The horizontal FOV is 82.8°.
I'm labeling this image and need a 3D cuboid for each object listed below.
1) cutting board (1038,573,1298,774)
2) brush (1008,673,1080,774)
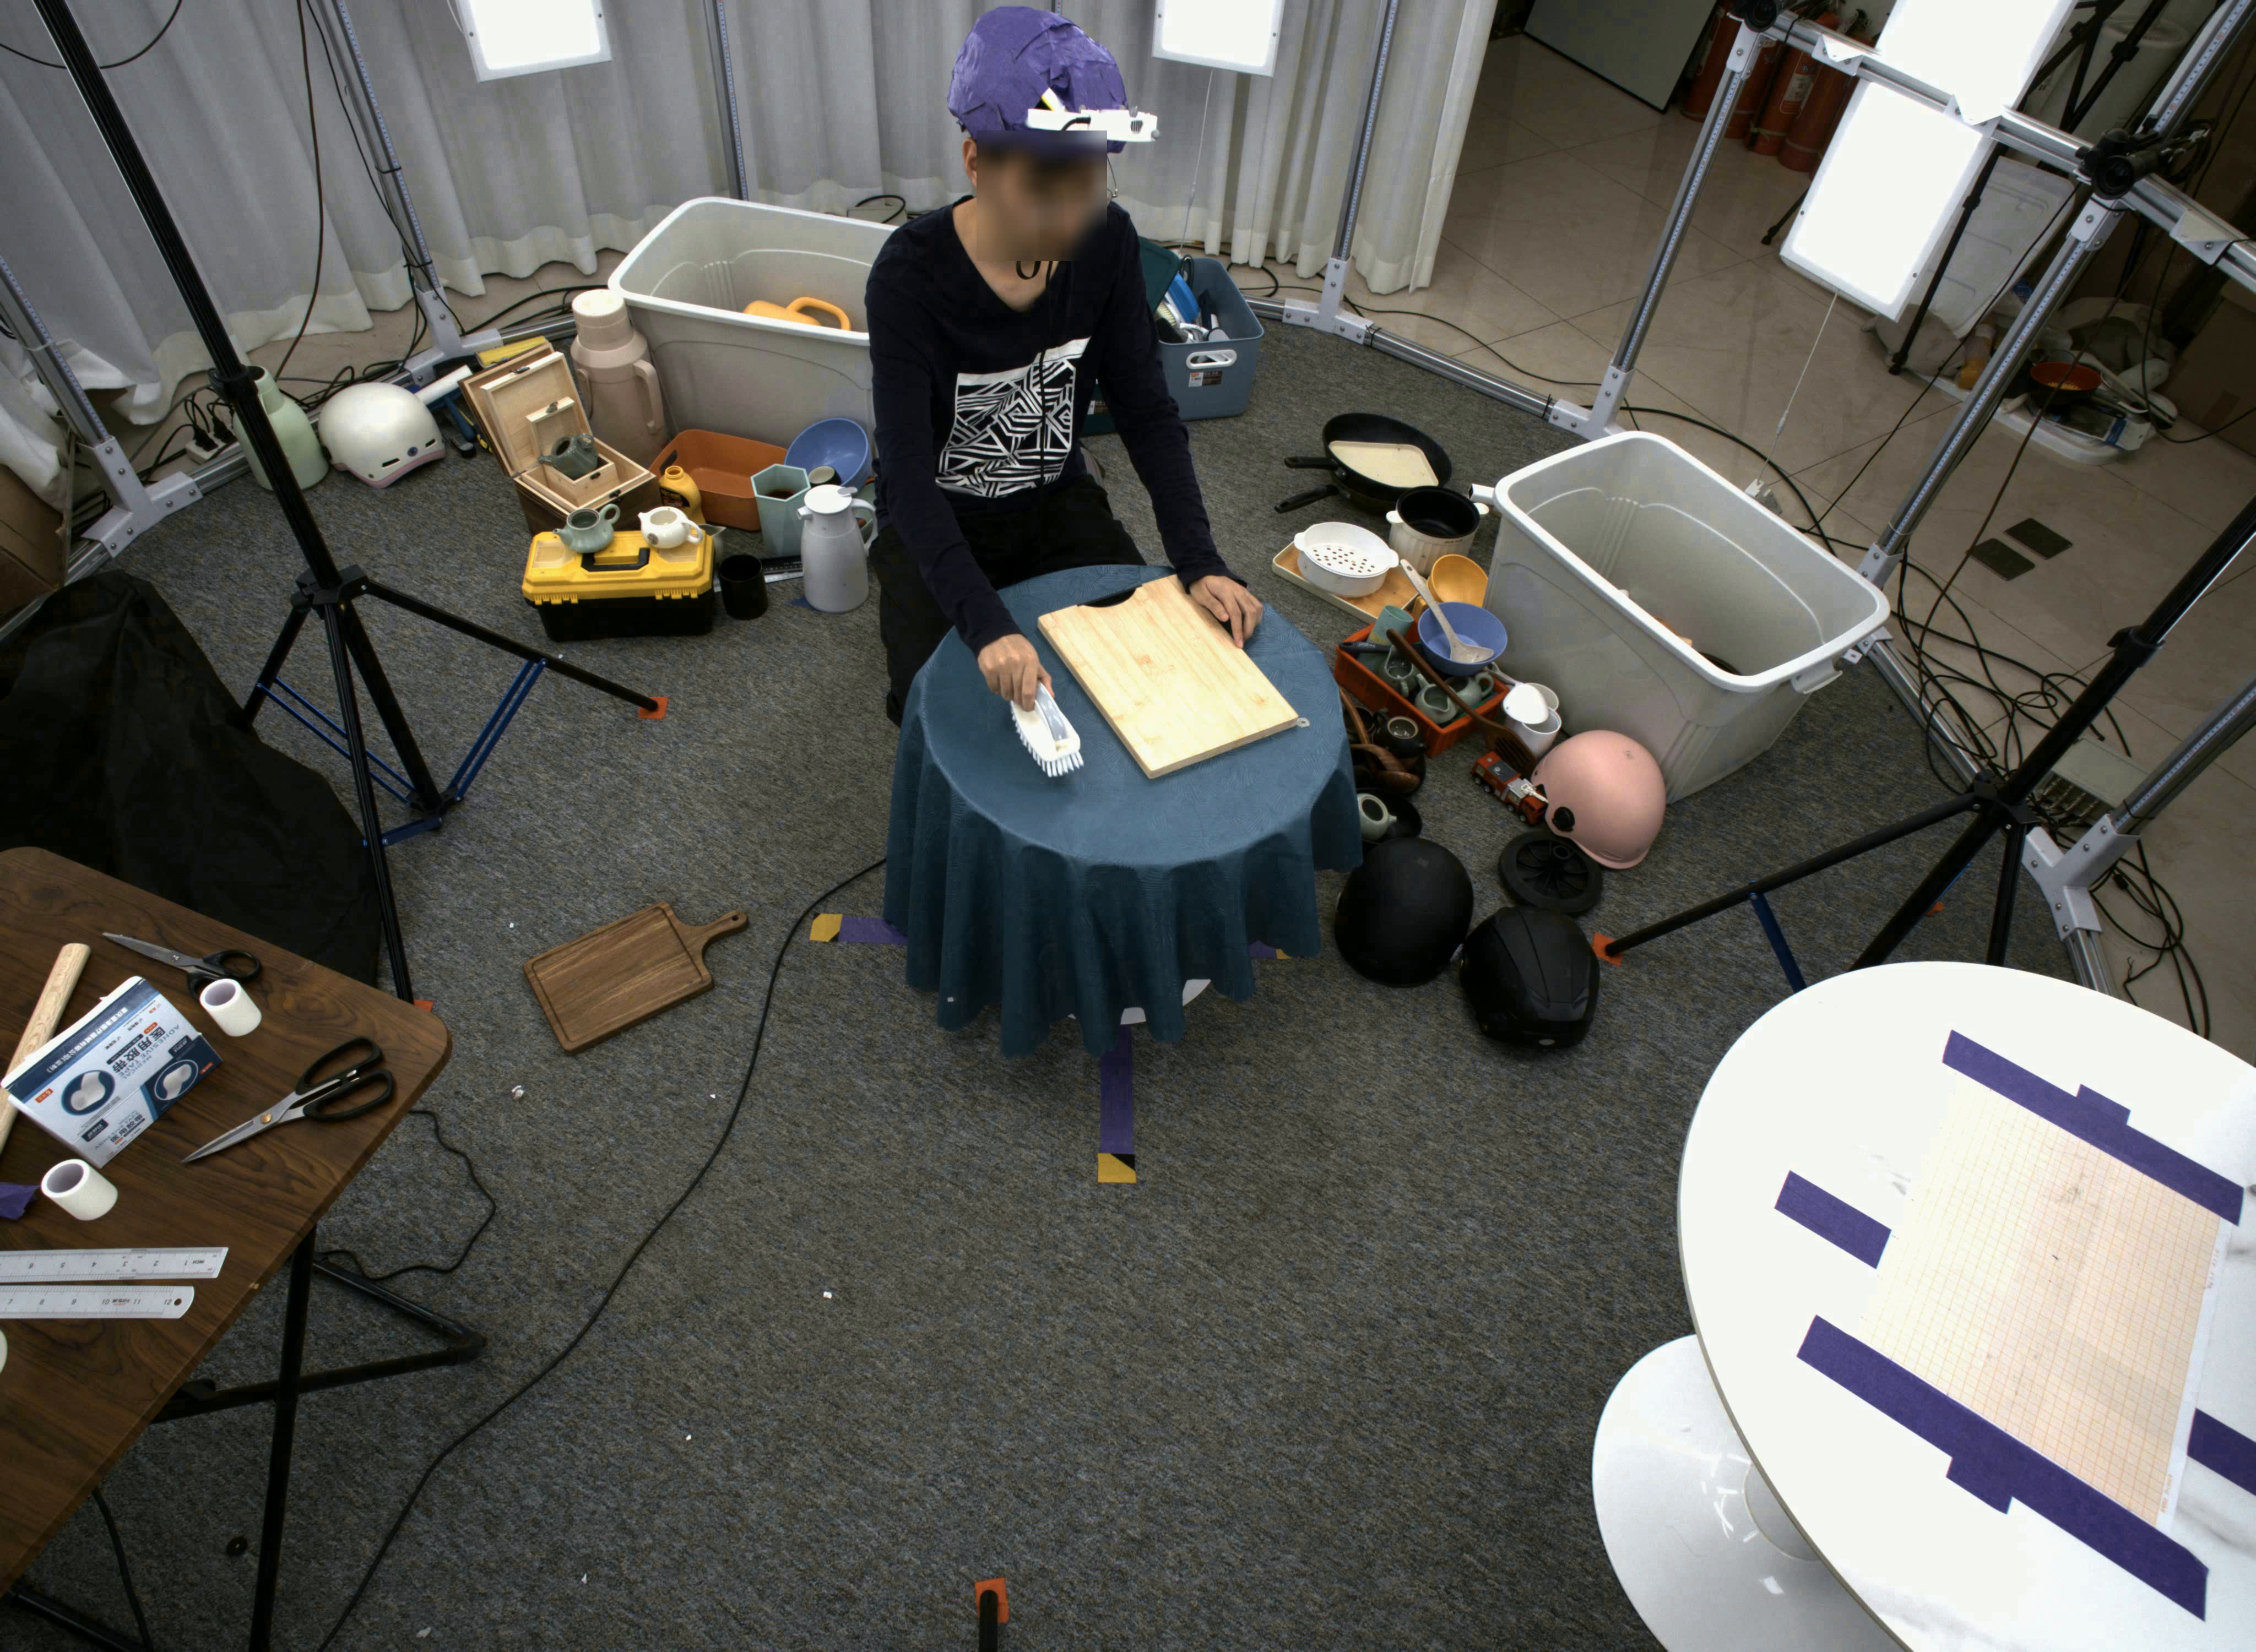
[{"bbox_3d":[0.052,-0.228,1.859,0.251,0.023,0.356,-21,53,-21],"label":"cutting board"},{"bbox_3d":[-0.124,-0.154,1.702,0.061,0.092,0.179,-21,47,-16],"label":"brush"}]
